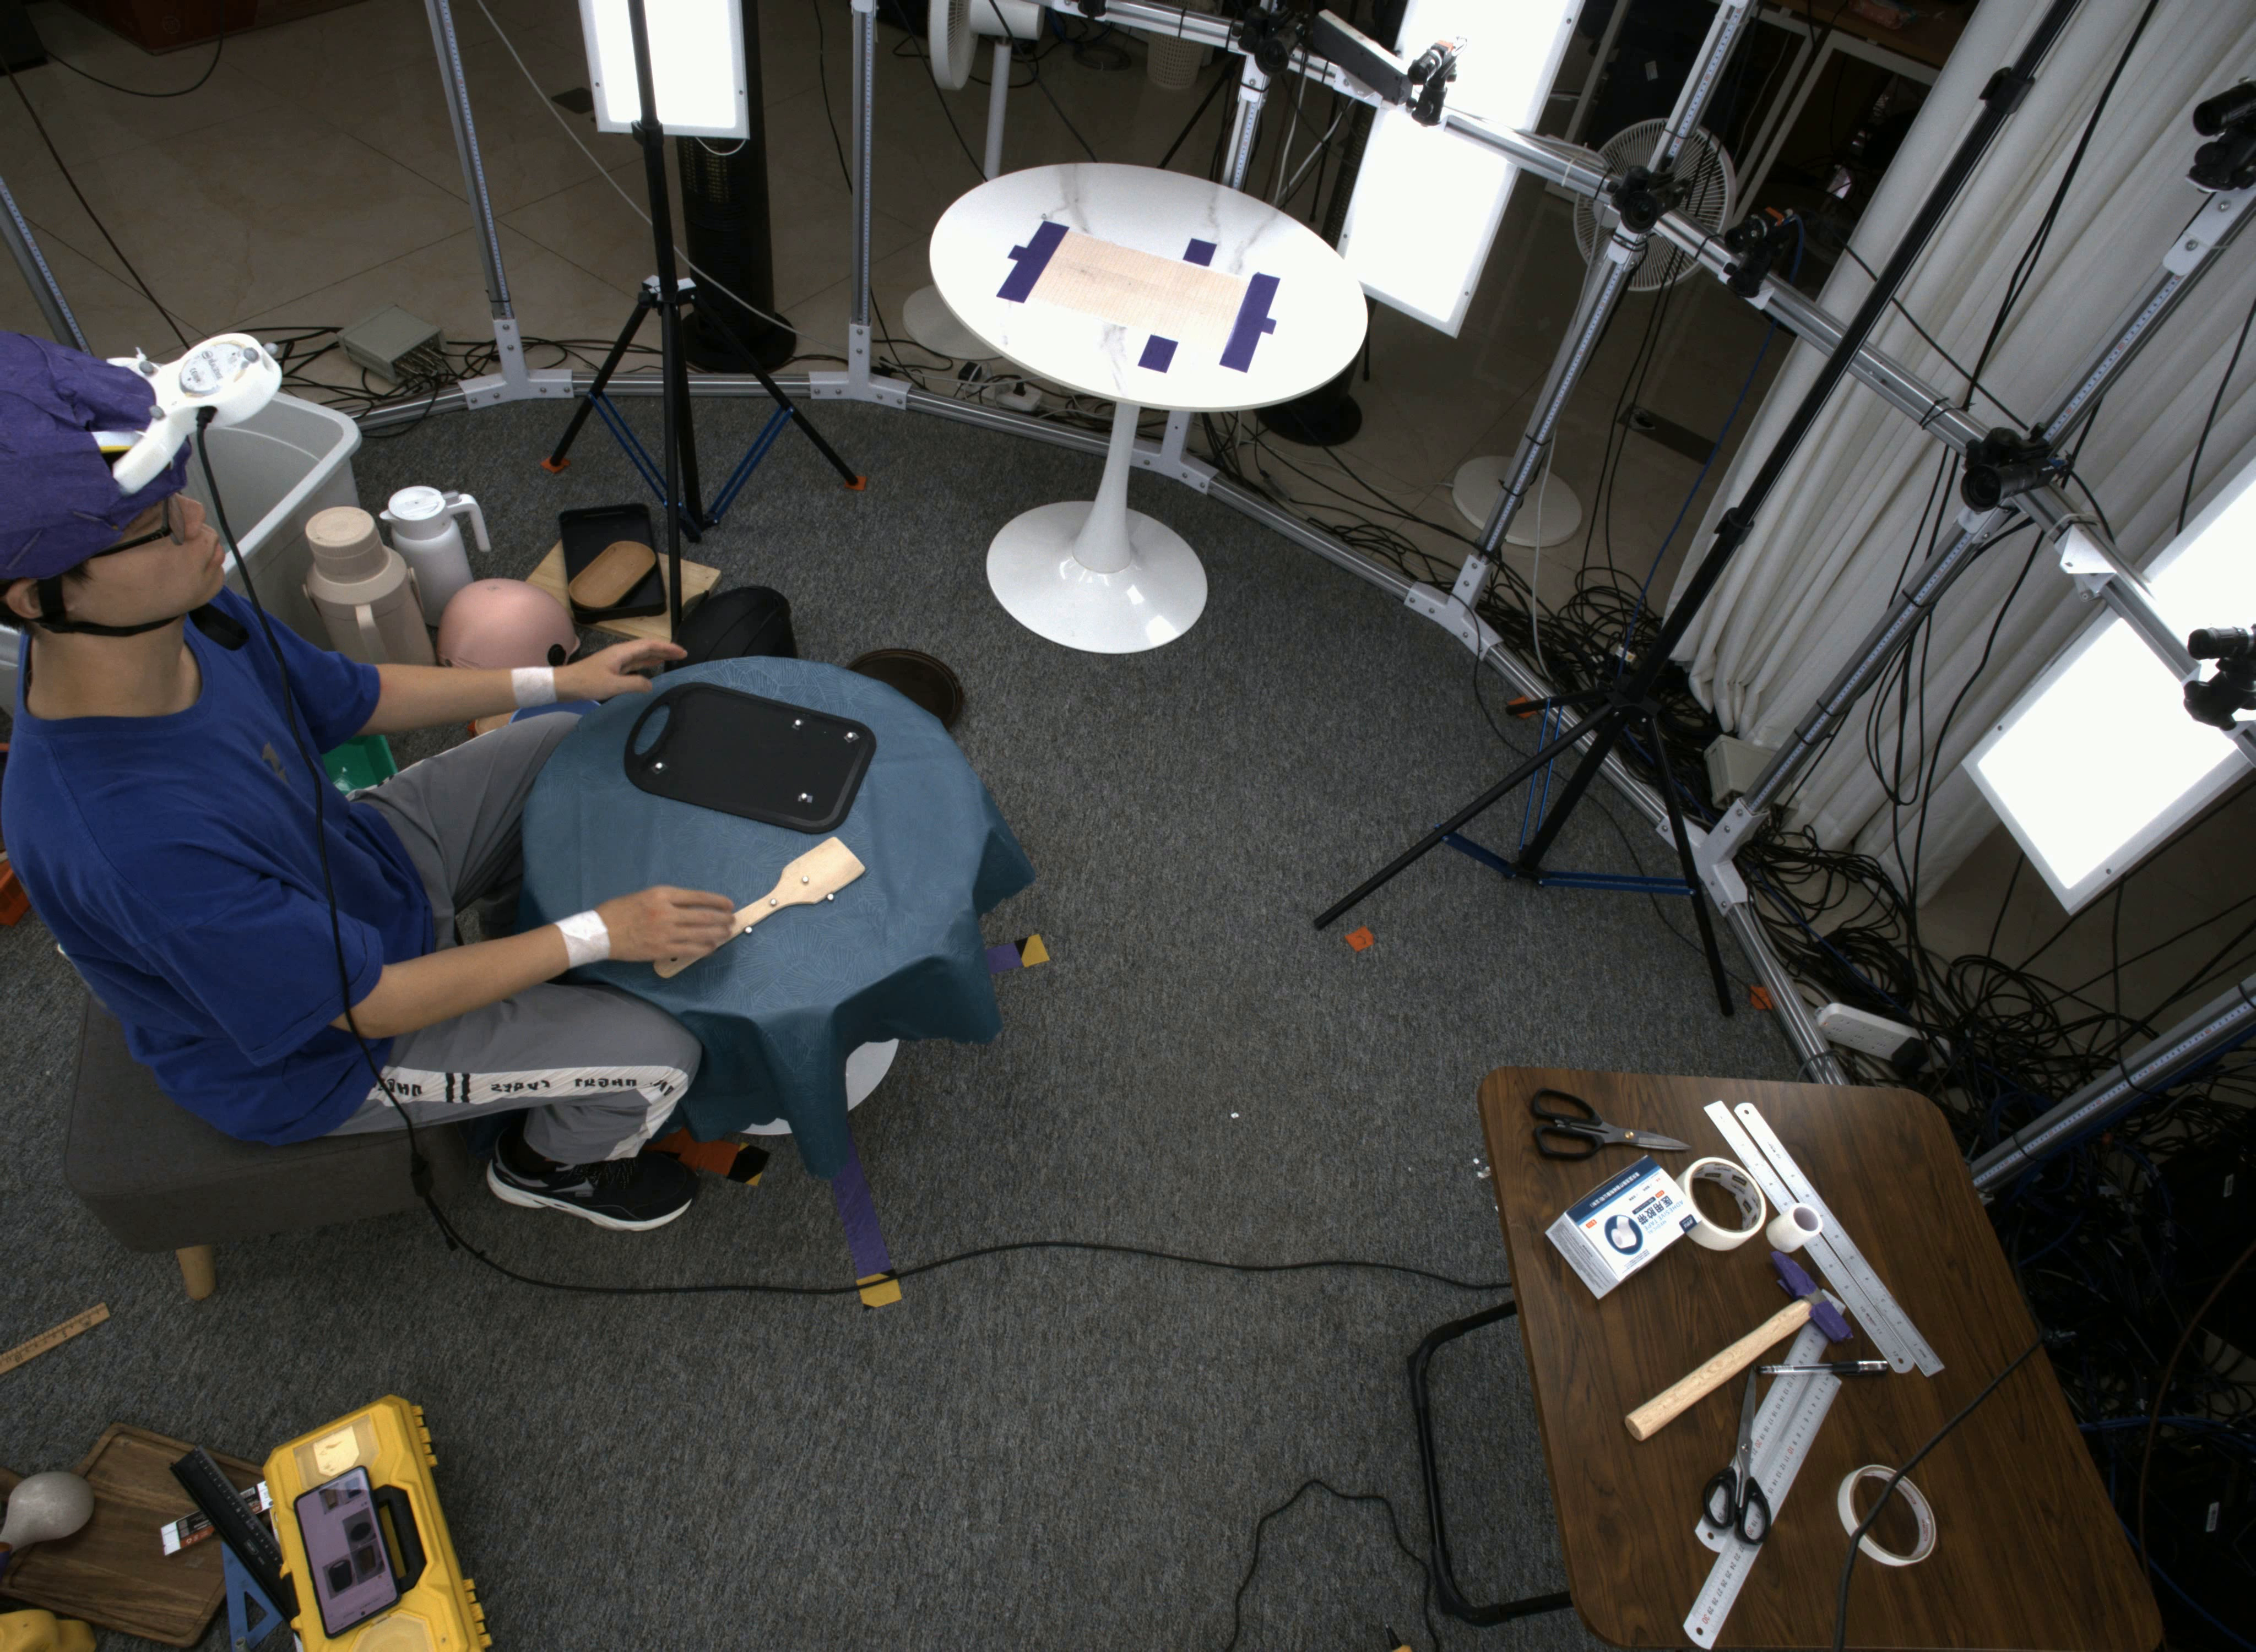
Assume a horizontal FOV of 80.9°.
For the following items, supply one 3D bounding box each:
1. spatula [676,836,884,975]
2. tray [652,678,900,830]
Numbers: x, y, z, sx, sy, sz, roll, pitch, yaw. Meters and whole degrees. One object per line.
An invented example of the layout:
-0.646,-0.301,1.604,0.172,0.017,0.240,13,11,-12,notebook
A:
-0.444,0.103,1.647,0.294,0.011,0.071,-34,69,-32,spatula
-0.492,-0.106,1.791,0.323,0.010,0.208,16,52,-2,tray
